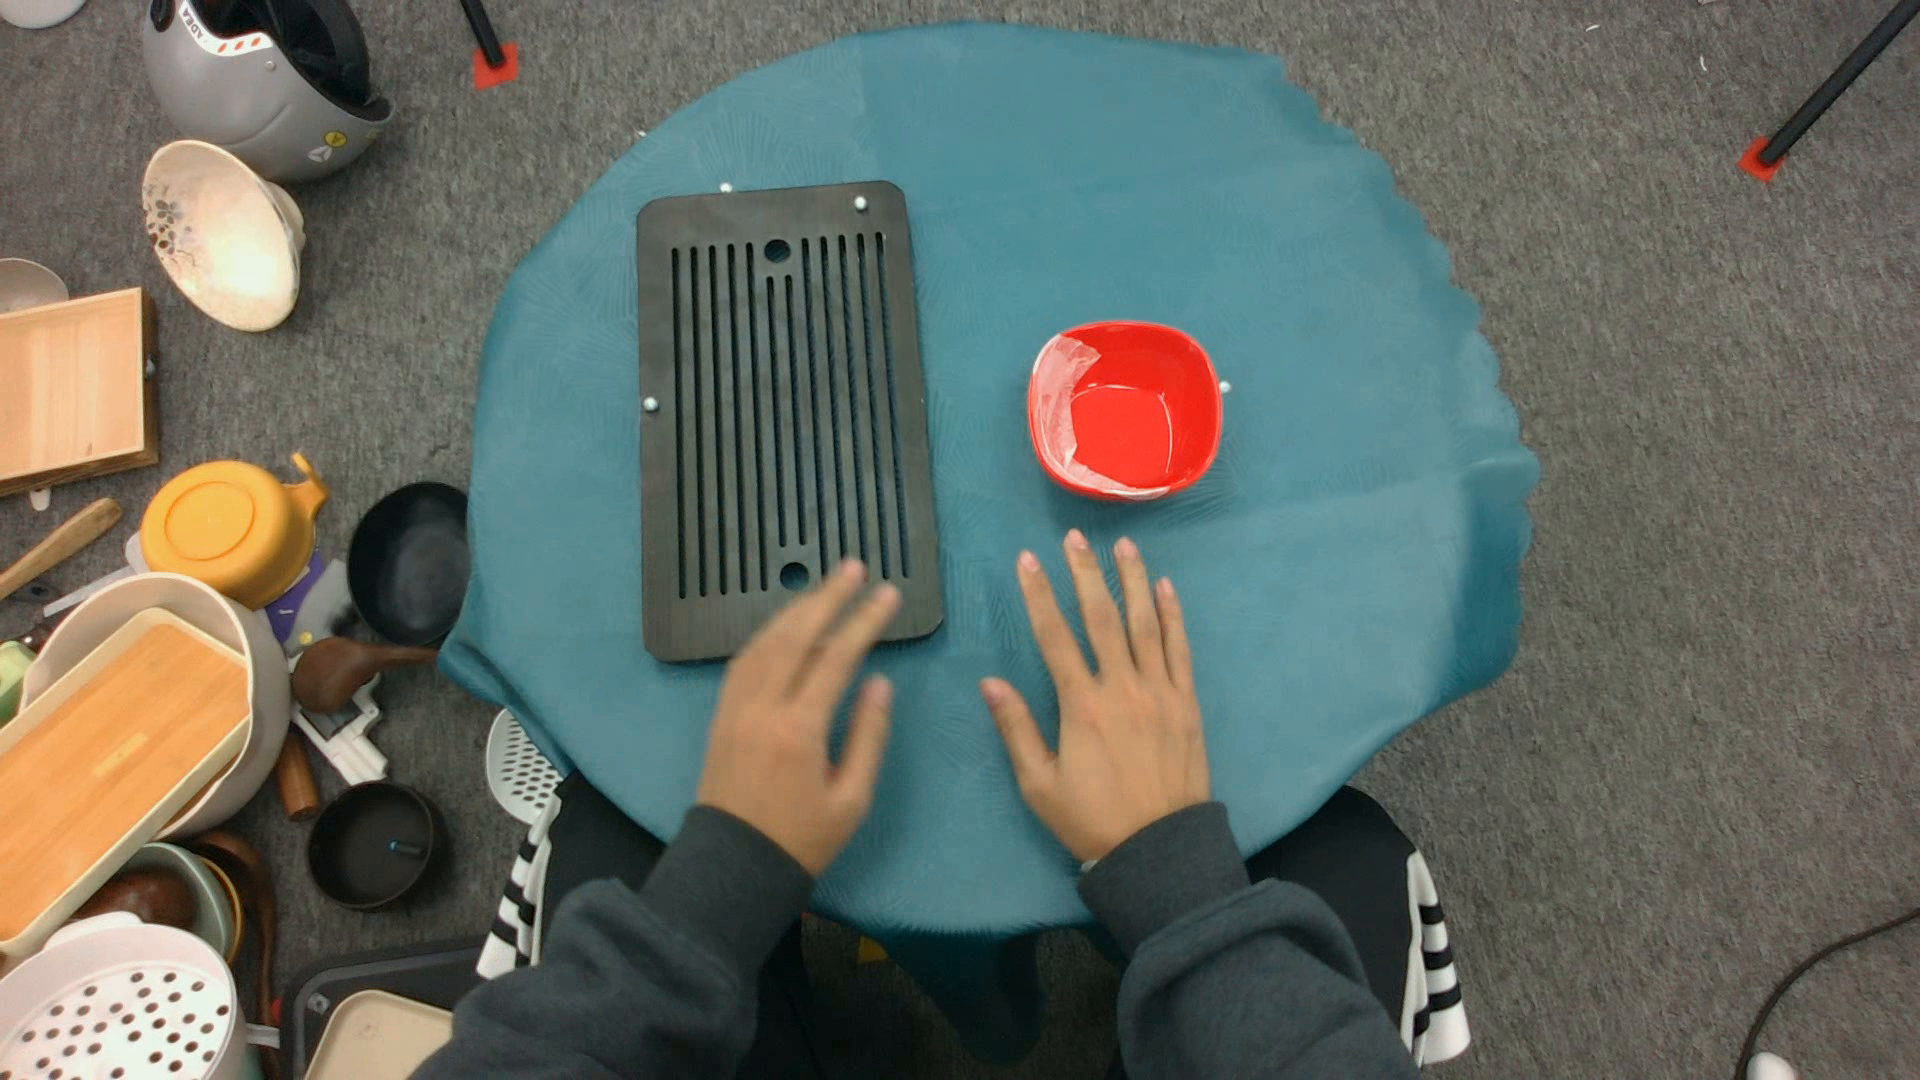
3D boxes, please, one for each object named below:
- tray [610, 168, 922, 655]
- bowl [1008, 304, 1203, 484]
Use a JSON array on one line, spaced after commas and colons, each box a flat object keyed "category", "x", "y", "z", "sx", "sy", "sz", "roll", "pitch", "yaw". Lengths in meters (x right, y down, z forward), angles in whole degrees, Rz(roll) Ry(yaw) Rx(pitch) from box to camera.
[{"category": "tray", "x": -0.120, "y": -0.085, "z": 0.821, "sx": 0.170, "sy": 0.018, "sz": 0.307, "roll": -6, "pitch": 70, "yaw": -2}, {"category": "bowl", "x": 0.082, "y": -0.077, "z": 0.798, "sx": 0.119, "sy": 0.051, "sz": 0.119, "roll": 0, "pitch": 67, "yaw": -1}]
